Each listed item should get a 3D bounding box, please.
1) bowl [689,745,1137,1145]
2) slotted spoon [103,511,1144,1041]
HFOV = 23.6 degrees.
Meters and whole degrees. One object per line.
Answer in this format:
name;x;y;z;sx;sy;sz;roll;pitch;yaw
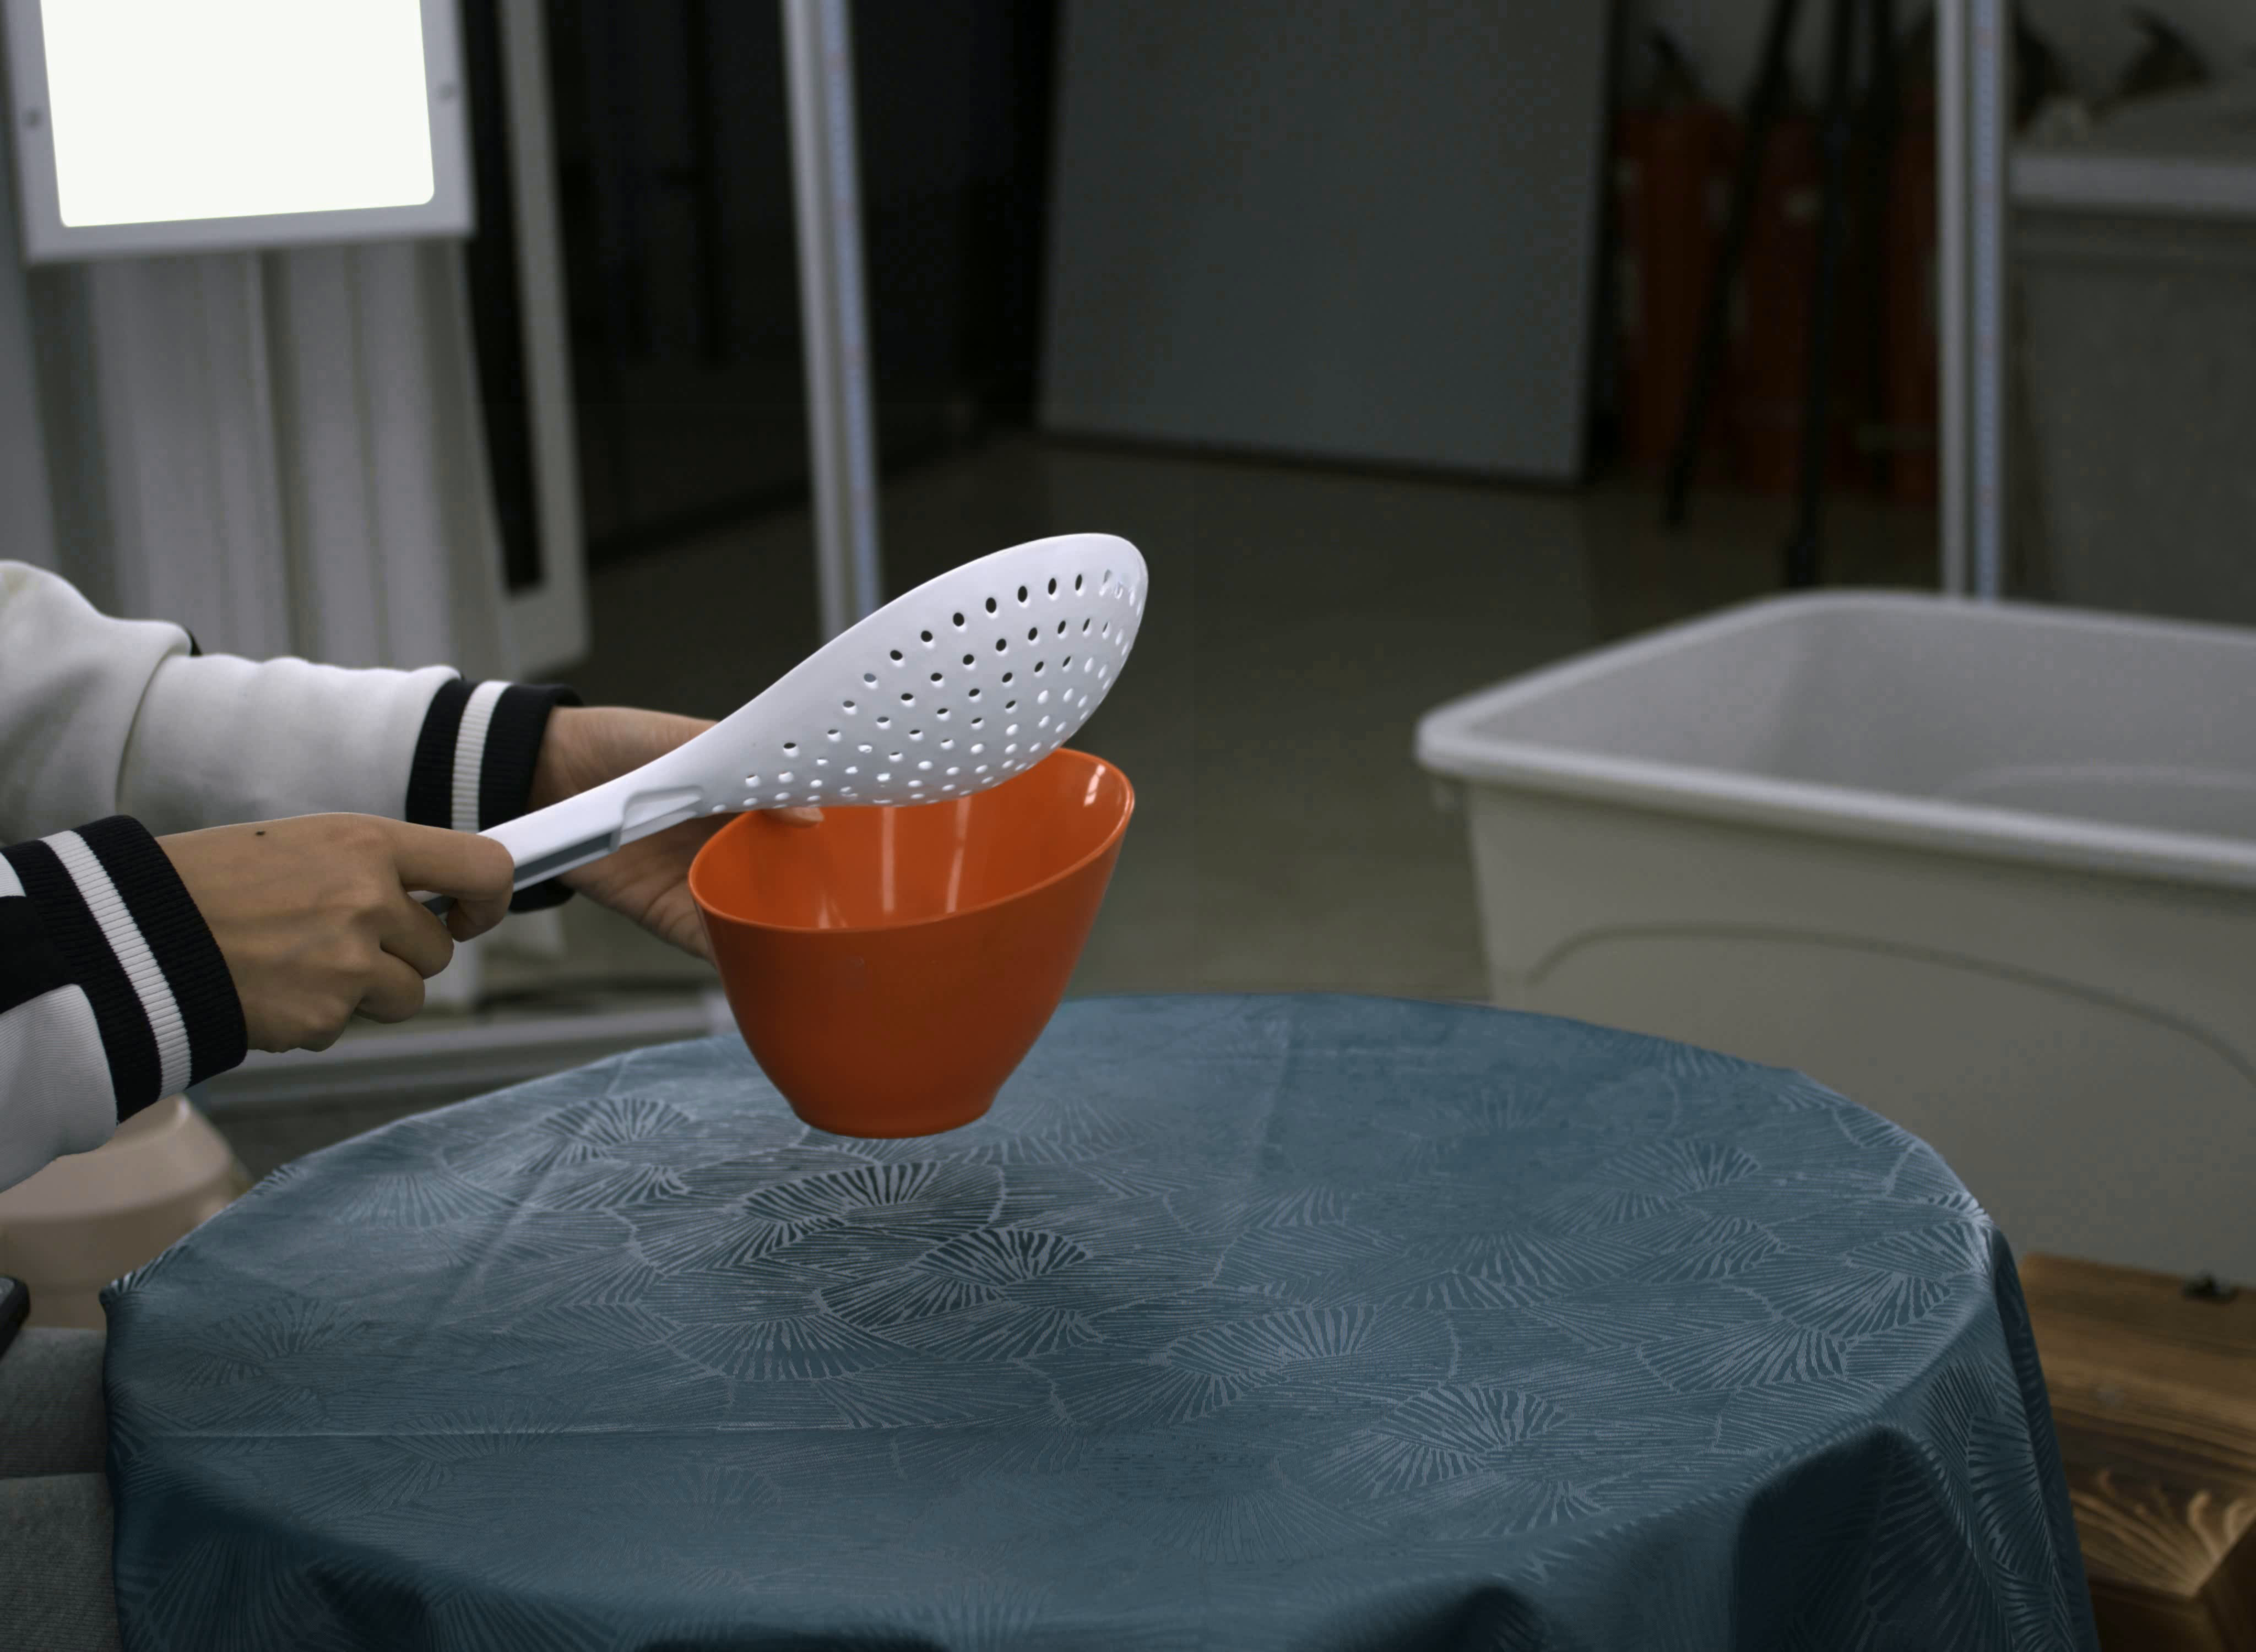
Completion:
bowl;-0.068;0.042;1.760;0.146;0.106;0.148;-2;19;0
slotted spoon;-0.146;-0.010;1.641;0.344;0.046;0.136;-18;-23;-14
